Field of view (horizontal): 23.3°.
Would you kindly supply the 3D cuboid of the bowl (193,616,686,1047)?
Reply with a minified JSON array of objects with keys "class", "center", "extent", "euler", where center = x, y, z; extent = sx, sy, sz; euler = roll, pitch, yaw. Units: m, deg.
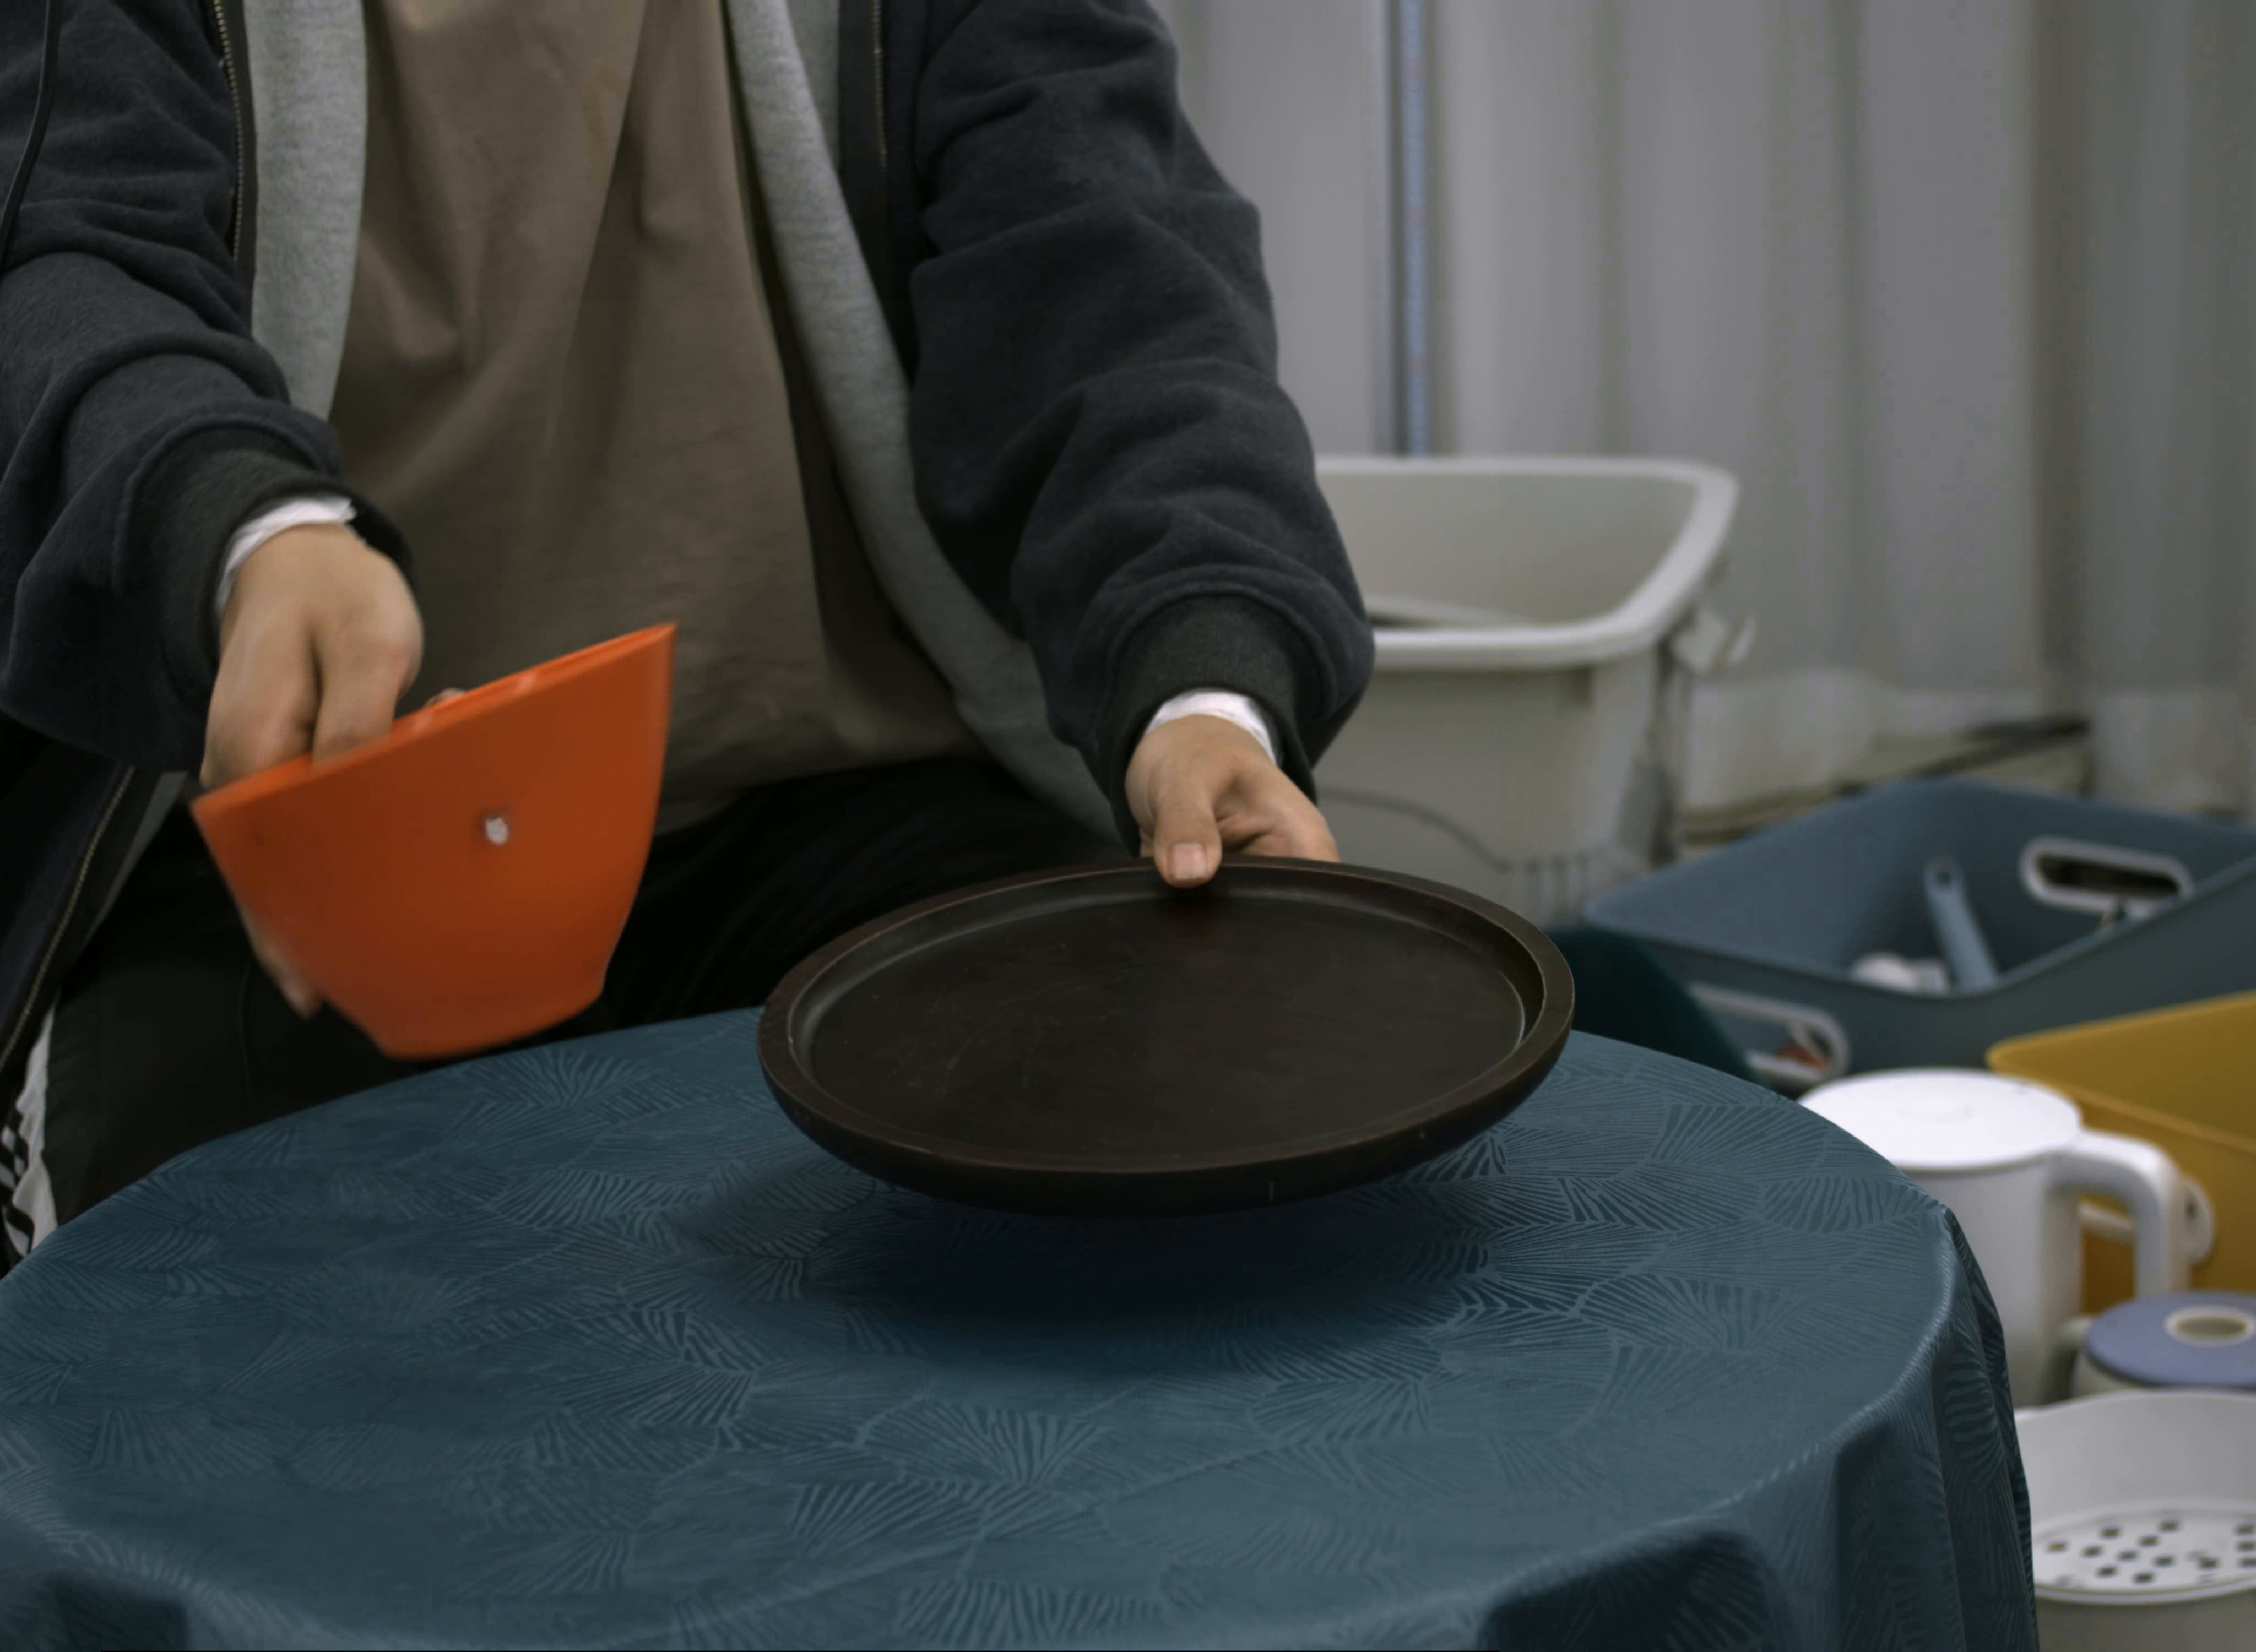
[{"class":"bowl","center":[-0.186,0.004,1.562],"extent":[0.147,0.104,0.149],"euler":[-13,12,2]}]

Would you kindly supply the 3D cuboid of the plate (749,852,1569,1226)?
[{"class":"plate","center":[0.010,0.063,1.686],"extent":[0.254,0.029,0.257],"euler":[-4,21,1]}]
